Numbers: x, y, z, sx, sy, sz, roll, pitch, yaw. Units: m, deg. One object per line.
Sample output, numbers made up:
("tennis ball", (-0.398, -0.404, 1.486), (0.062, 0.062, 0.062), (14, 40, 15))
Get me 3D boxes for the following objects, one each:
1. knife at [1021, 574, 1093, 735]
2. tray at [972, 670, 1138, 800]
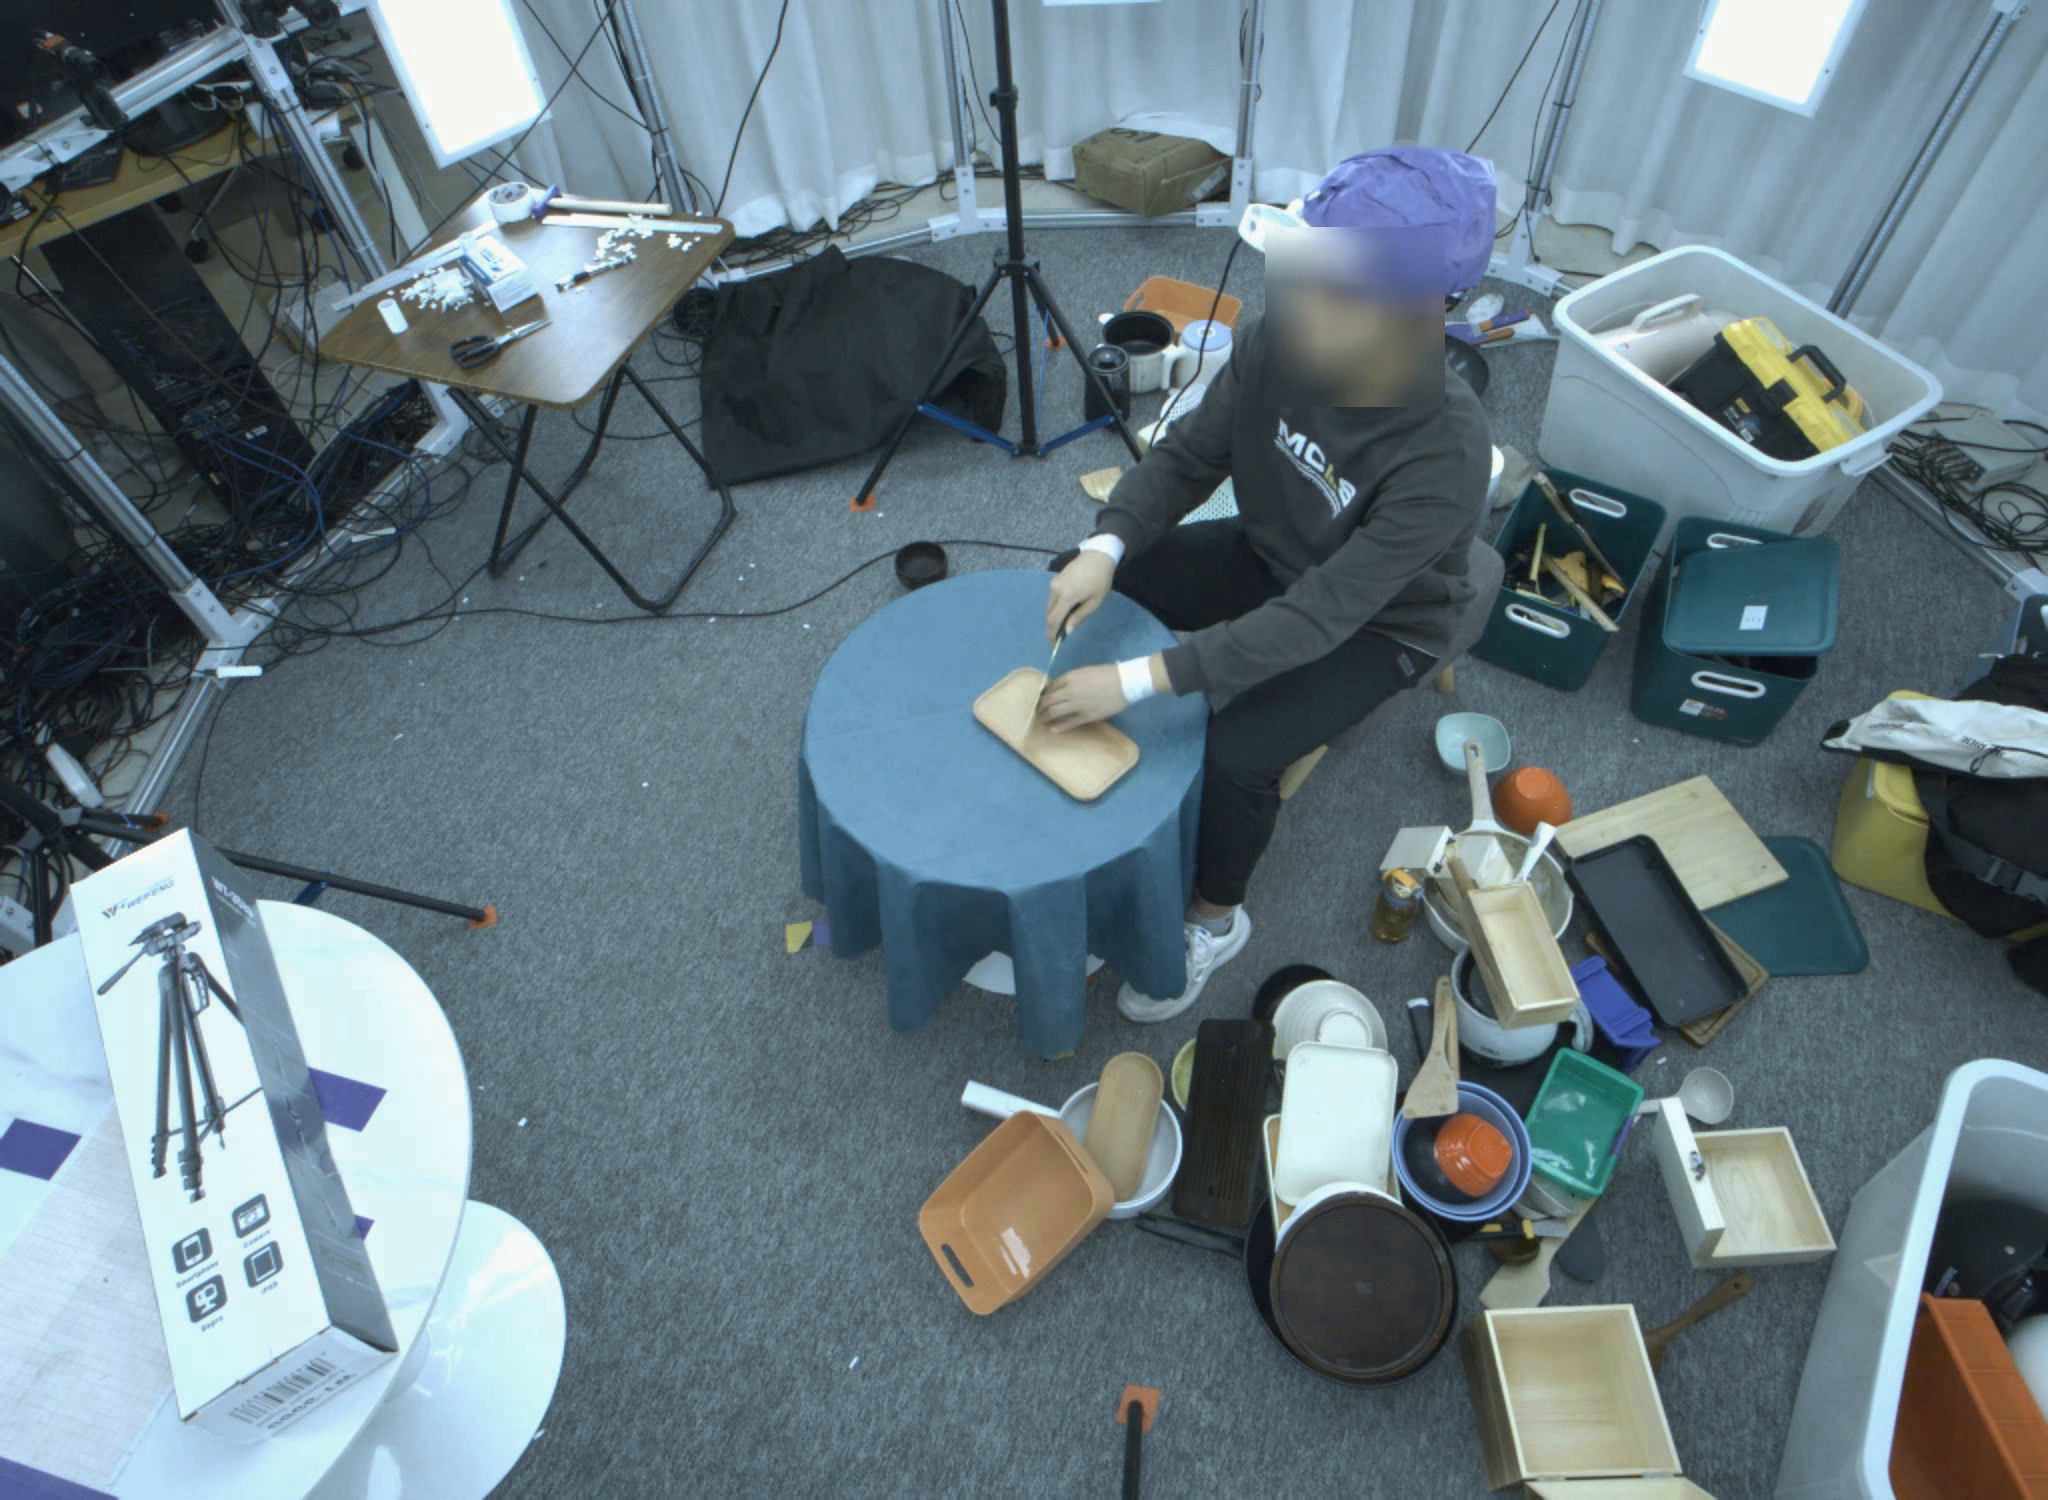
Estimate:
("knife", (0.045, -0.143, 1.821), (0.027, 0.081, 0.289), (24, 64, -3))
("tray", (0.043, -0.024, 1.805), (0.131, 0.023, 0.246), (-38, 59, -26))
